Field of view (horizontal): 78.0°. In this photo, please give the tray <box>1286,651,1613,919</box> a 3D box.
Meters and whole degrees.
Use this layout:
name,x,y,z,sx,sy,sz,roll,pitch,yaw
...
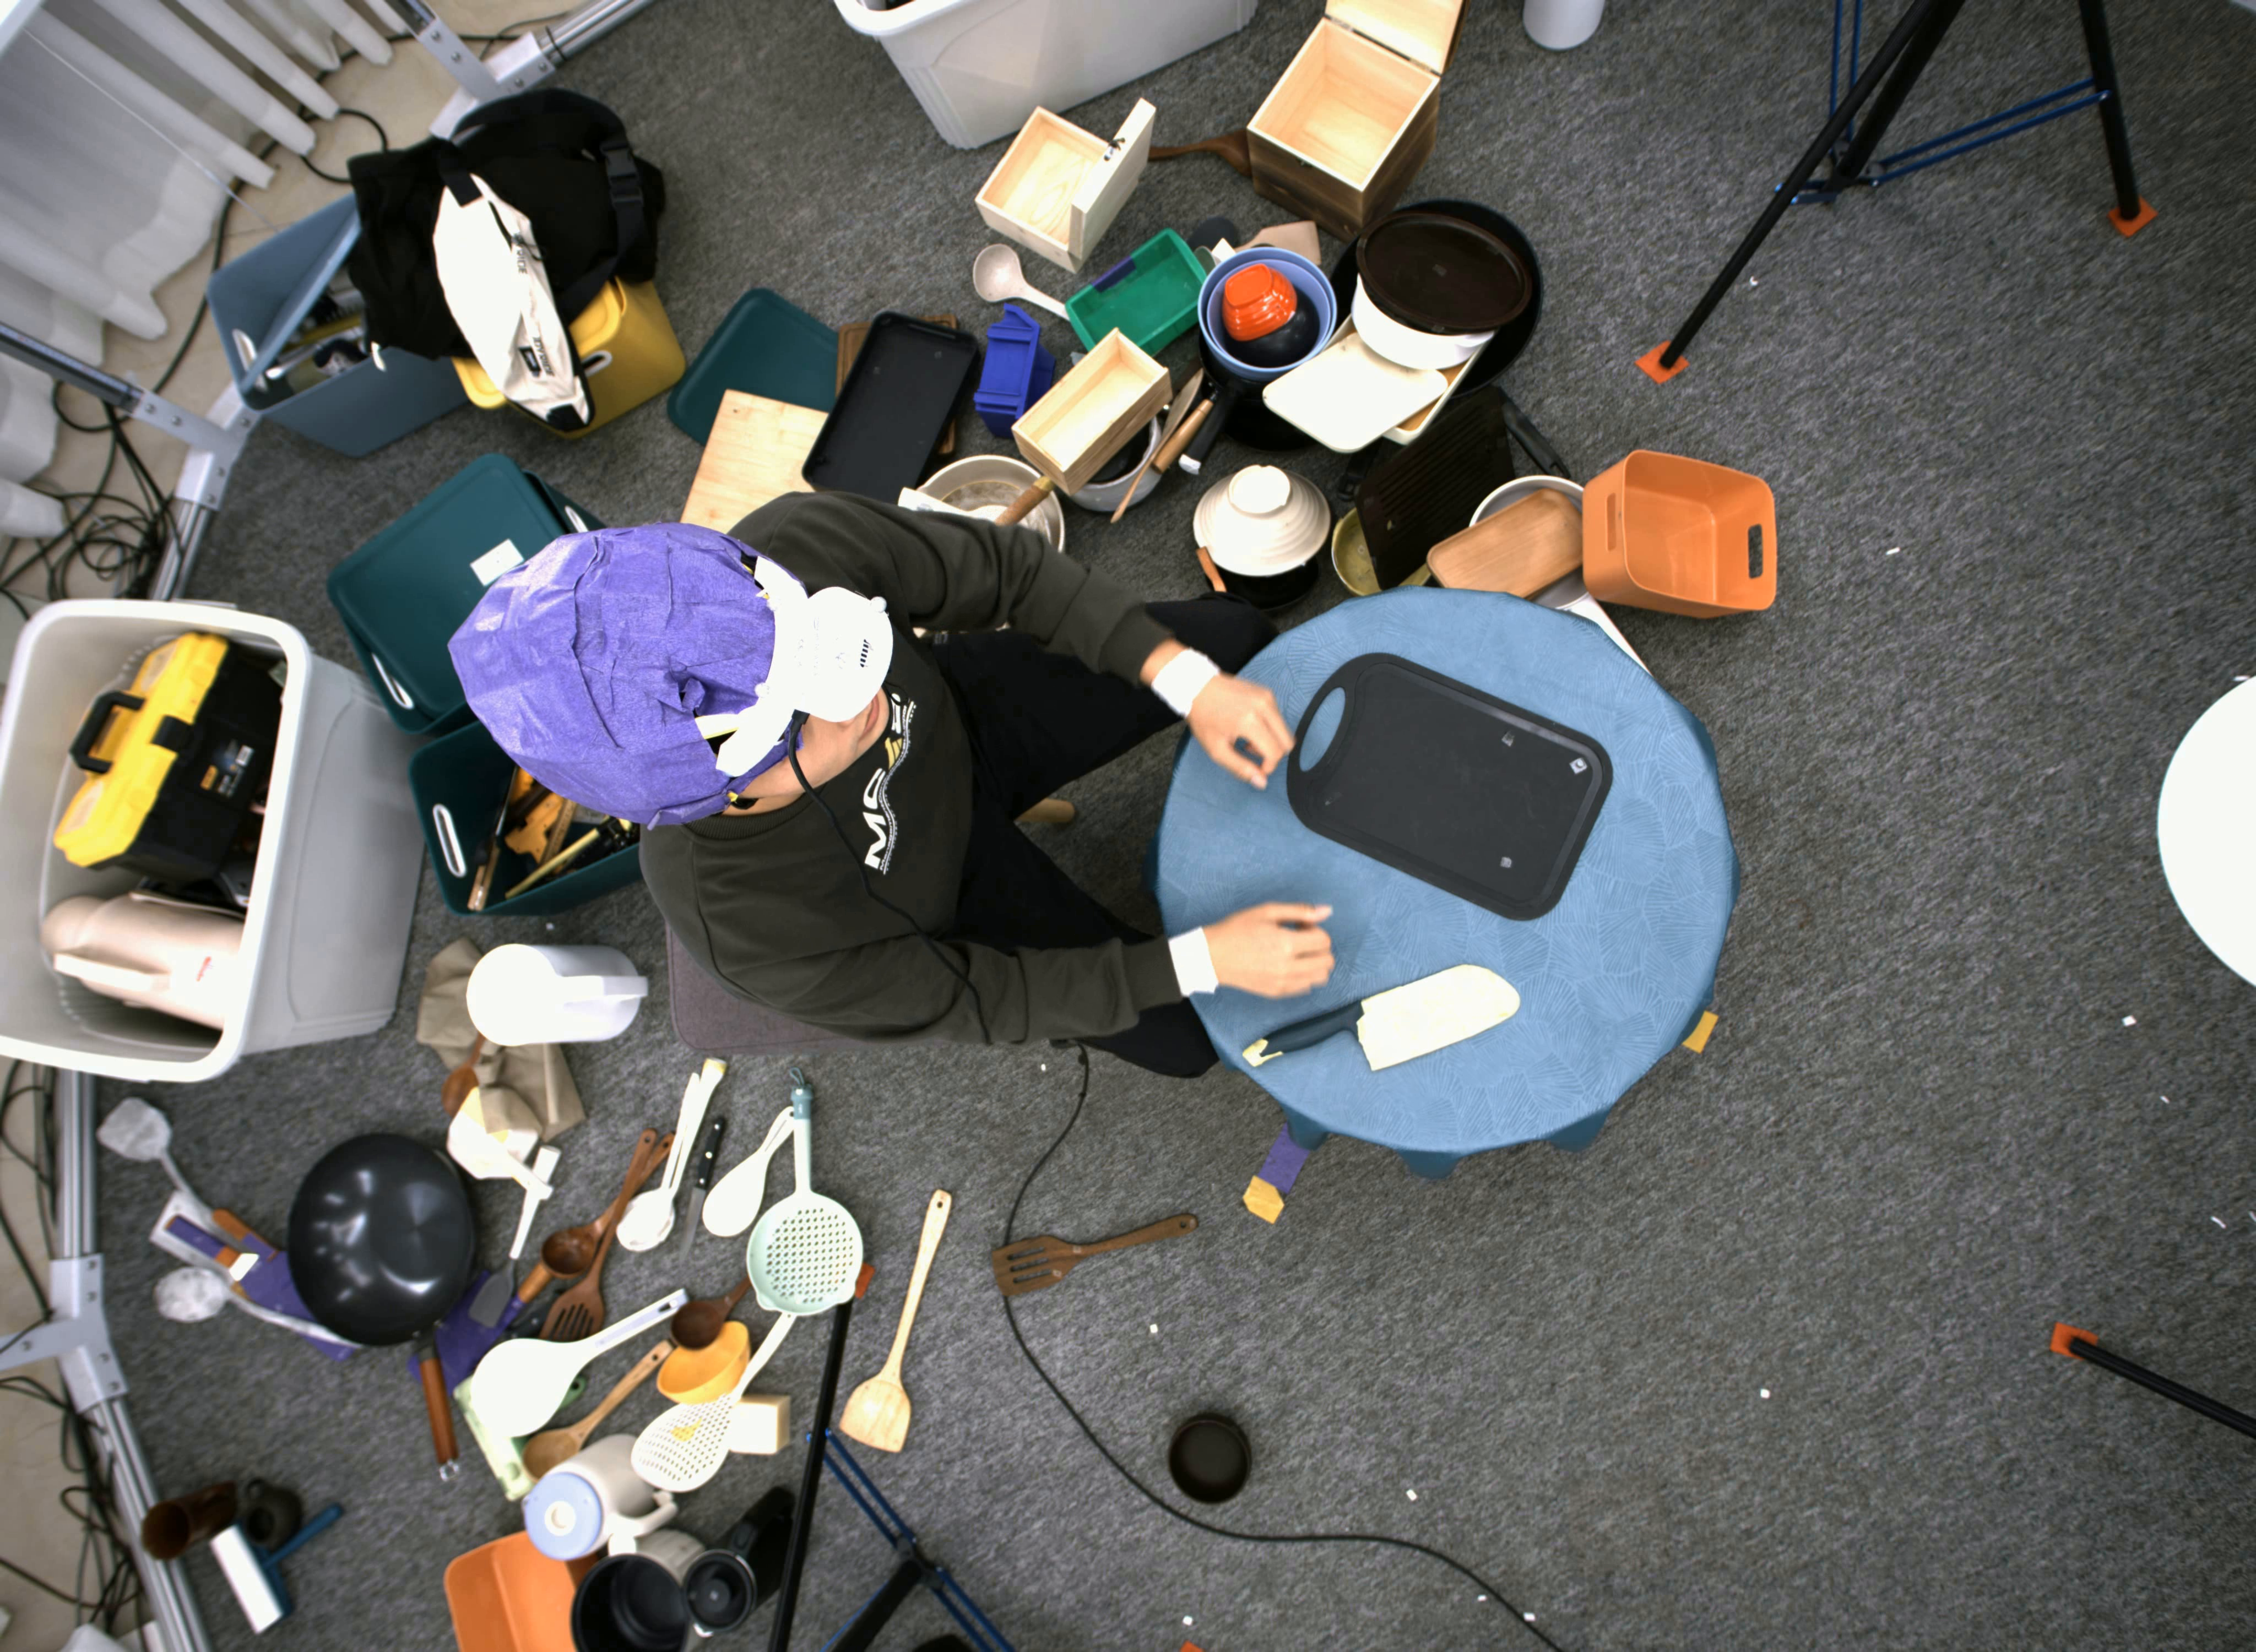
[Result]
name,x,y,z,sx,sy,sz,roll,pitch,yaw
tray,0.330,-0.051,1.452,0.325,0.010,0.211,25,92,11

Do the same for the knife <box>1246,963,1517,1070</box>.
name,x,y,z,sx,sy,sz,roll,pitch,yaw
knife,0.265,0.210,1.446,0.291,0.027,0.080,-18,82,8
